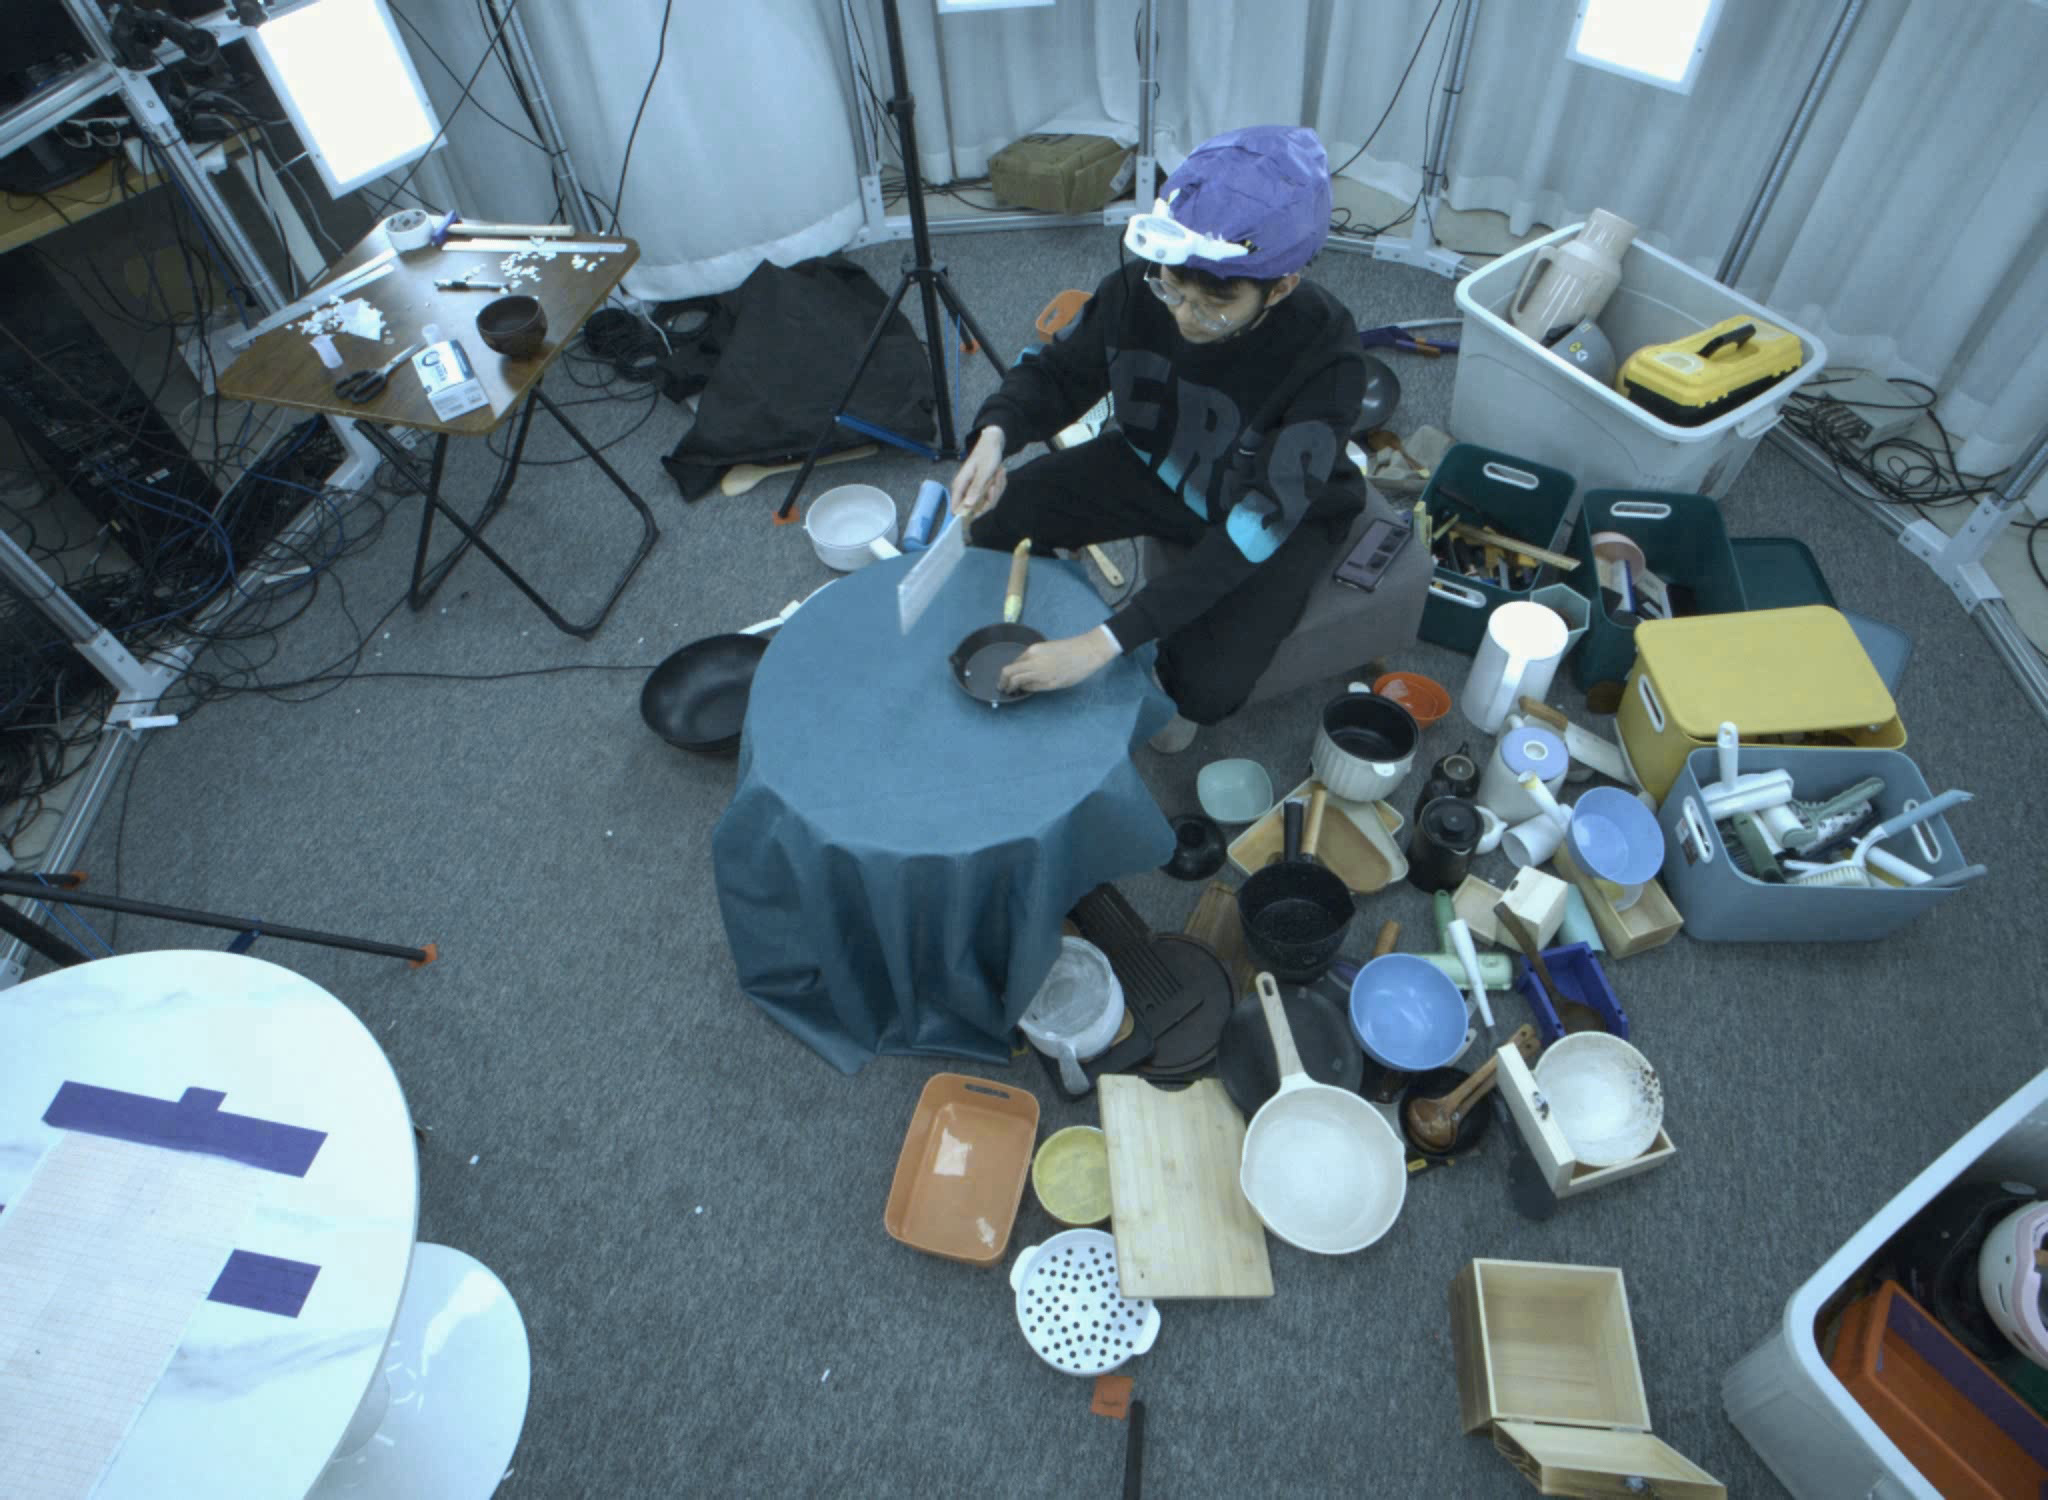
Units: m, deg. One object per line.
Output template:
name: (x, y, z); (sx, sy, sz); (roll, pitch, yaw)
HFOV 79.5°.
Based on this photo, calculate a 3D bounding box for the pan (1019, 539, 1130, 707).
pan: (0.093, -0.196, 1.891); (0.168, 0.050, 0.322); (9, 57, 9)

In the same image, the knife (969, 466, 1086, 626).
knife: (0.003, -0.314, 1.820); (0.021, 0.115, 0.316); (27, 64, 18)
